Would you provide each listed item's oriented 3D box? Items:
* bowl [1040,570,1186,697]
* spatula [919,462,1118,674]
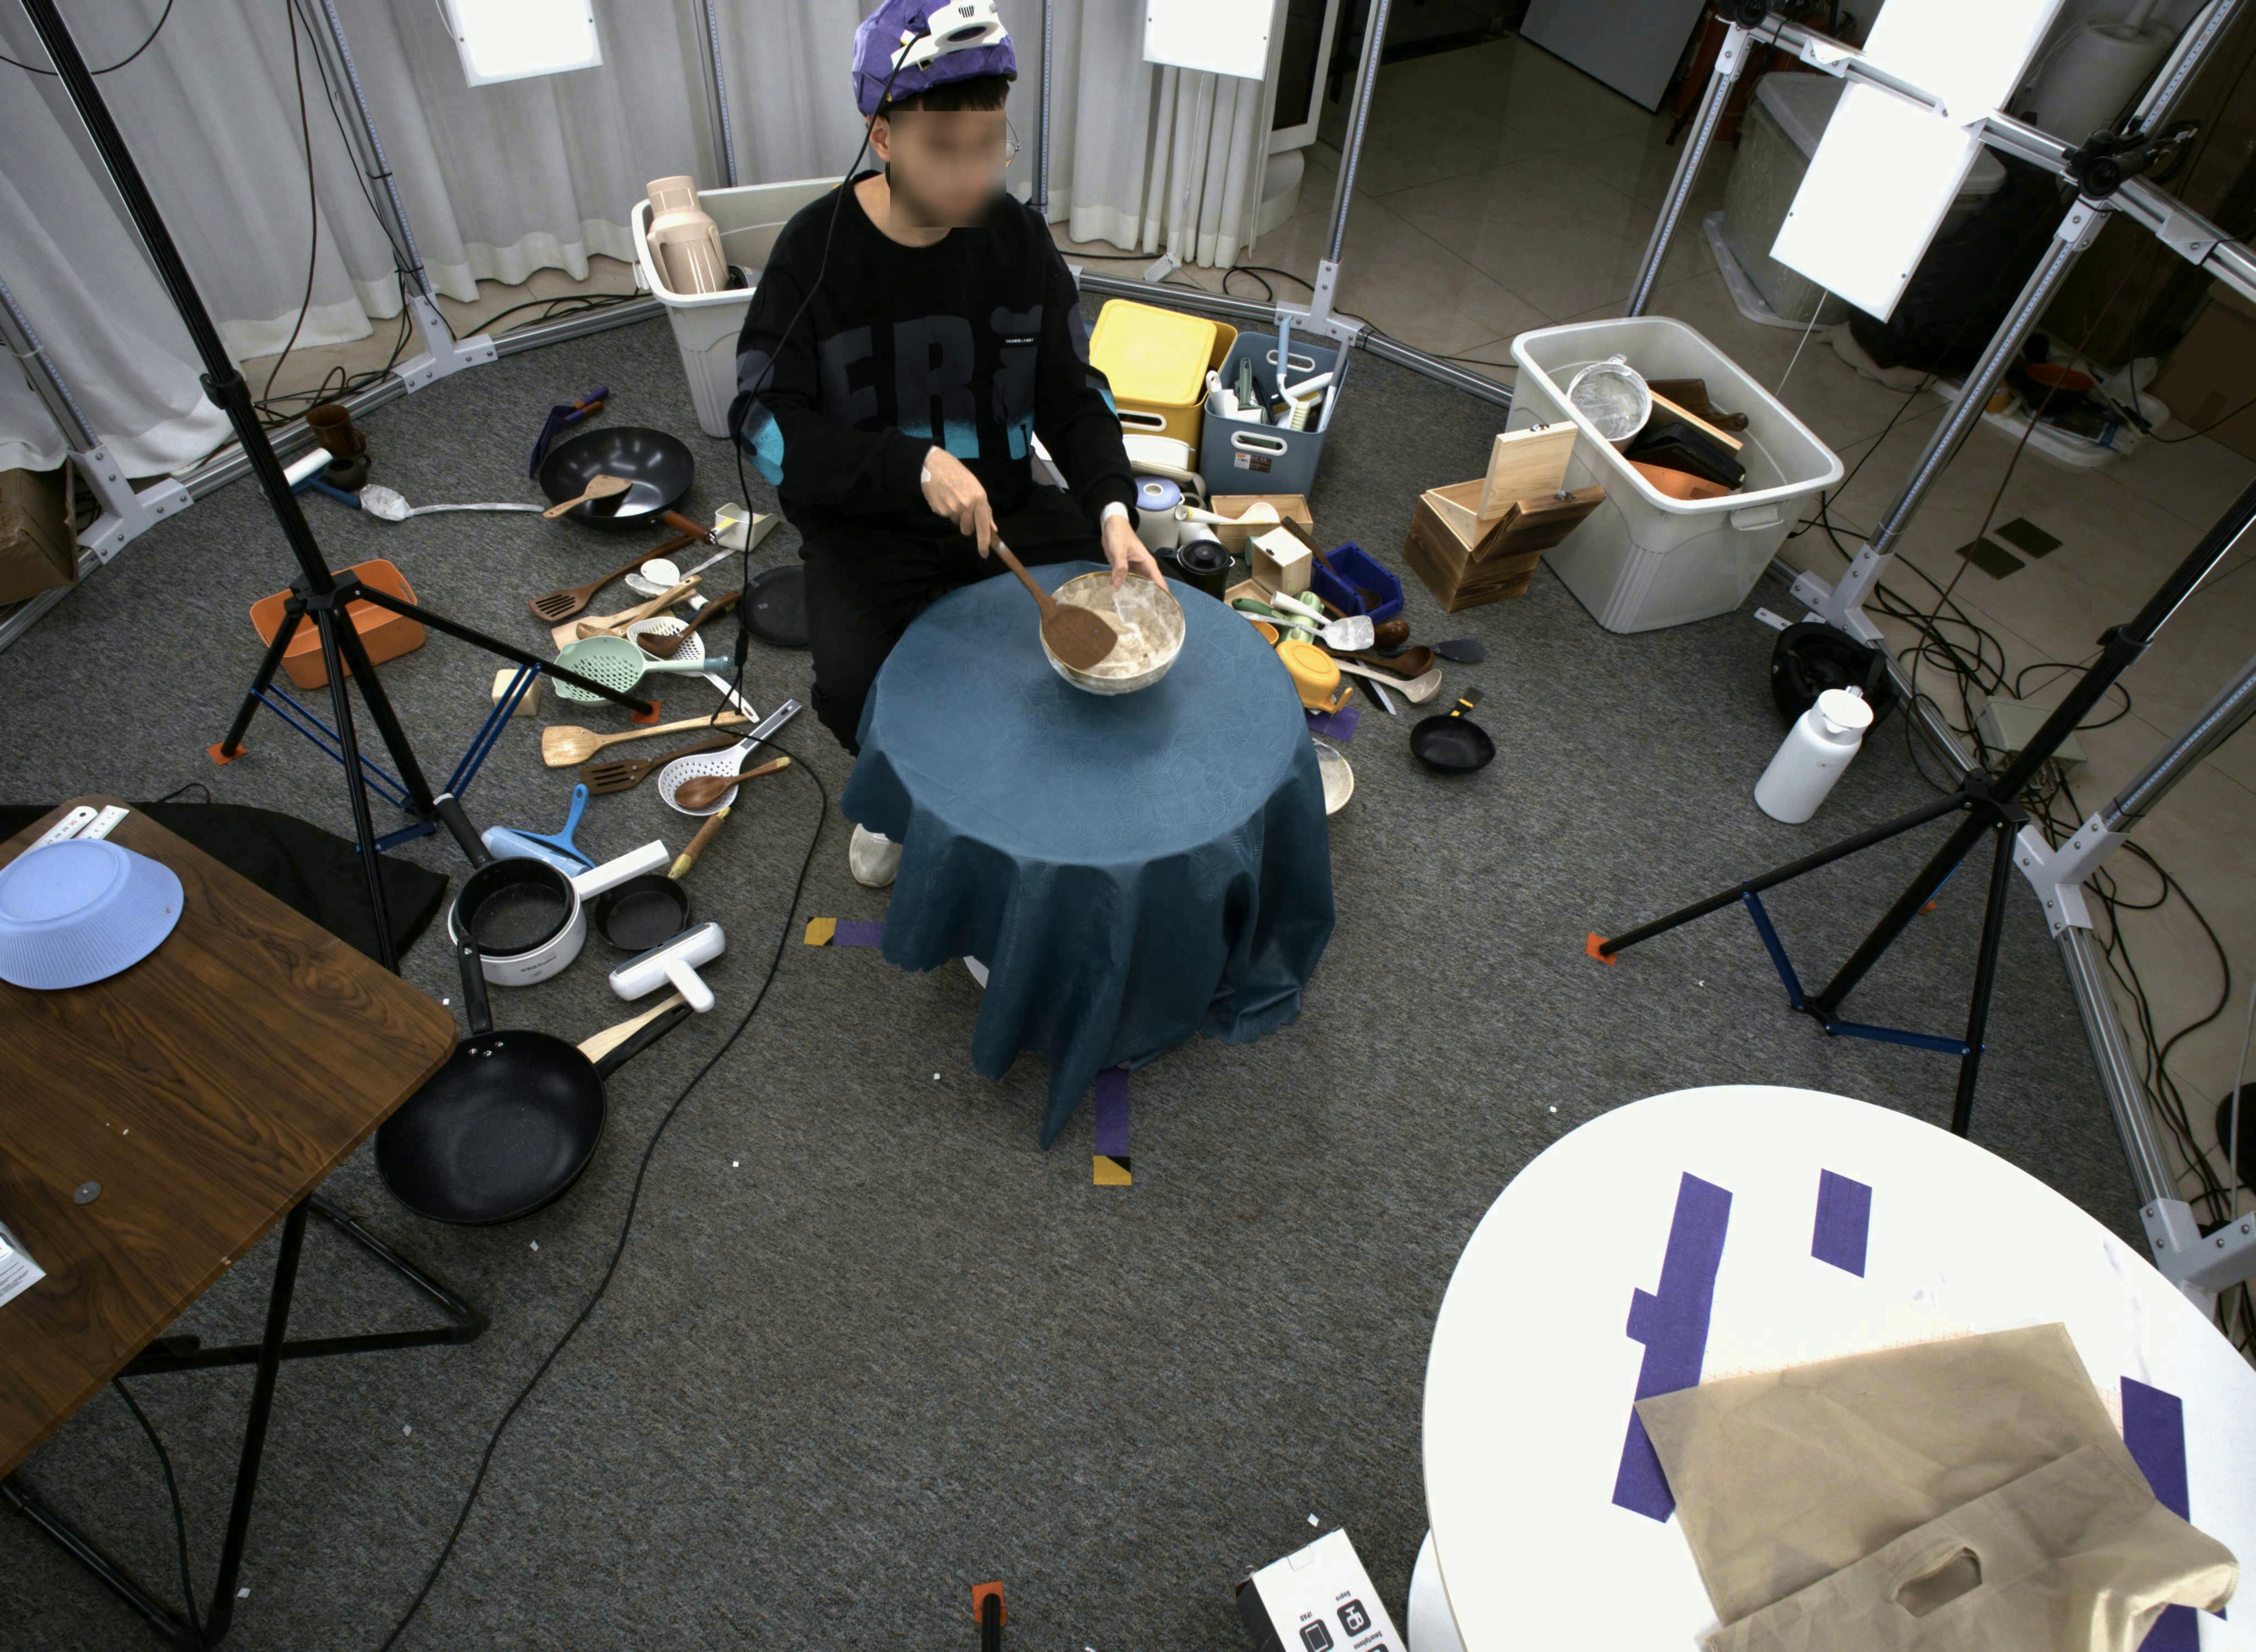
[{"bbox_3d":[-0.021,-0.259,1.814,0.214,0.092,0.220,0,56,-1],"label":"bowl"},{"bbox_3d":[-0.164,-0.366,1.796,0.097,0.015,0.388,-38,82,-22],"label":"spatula"}]
